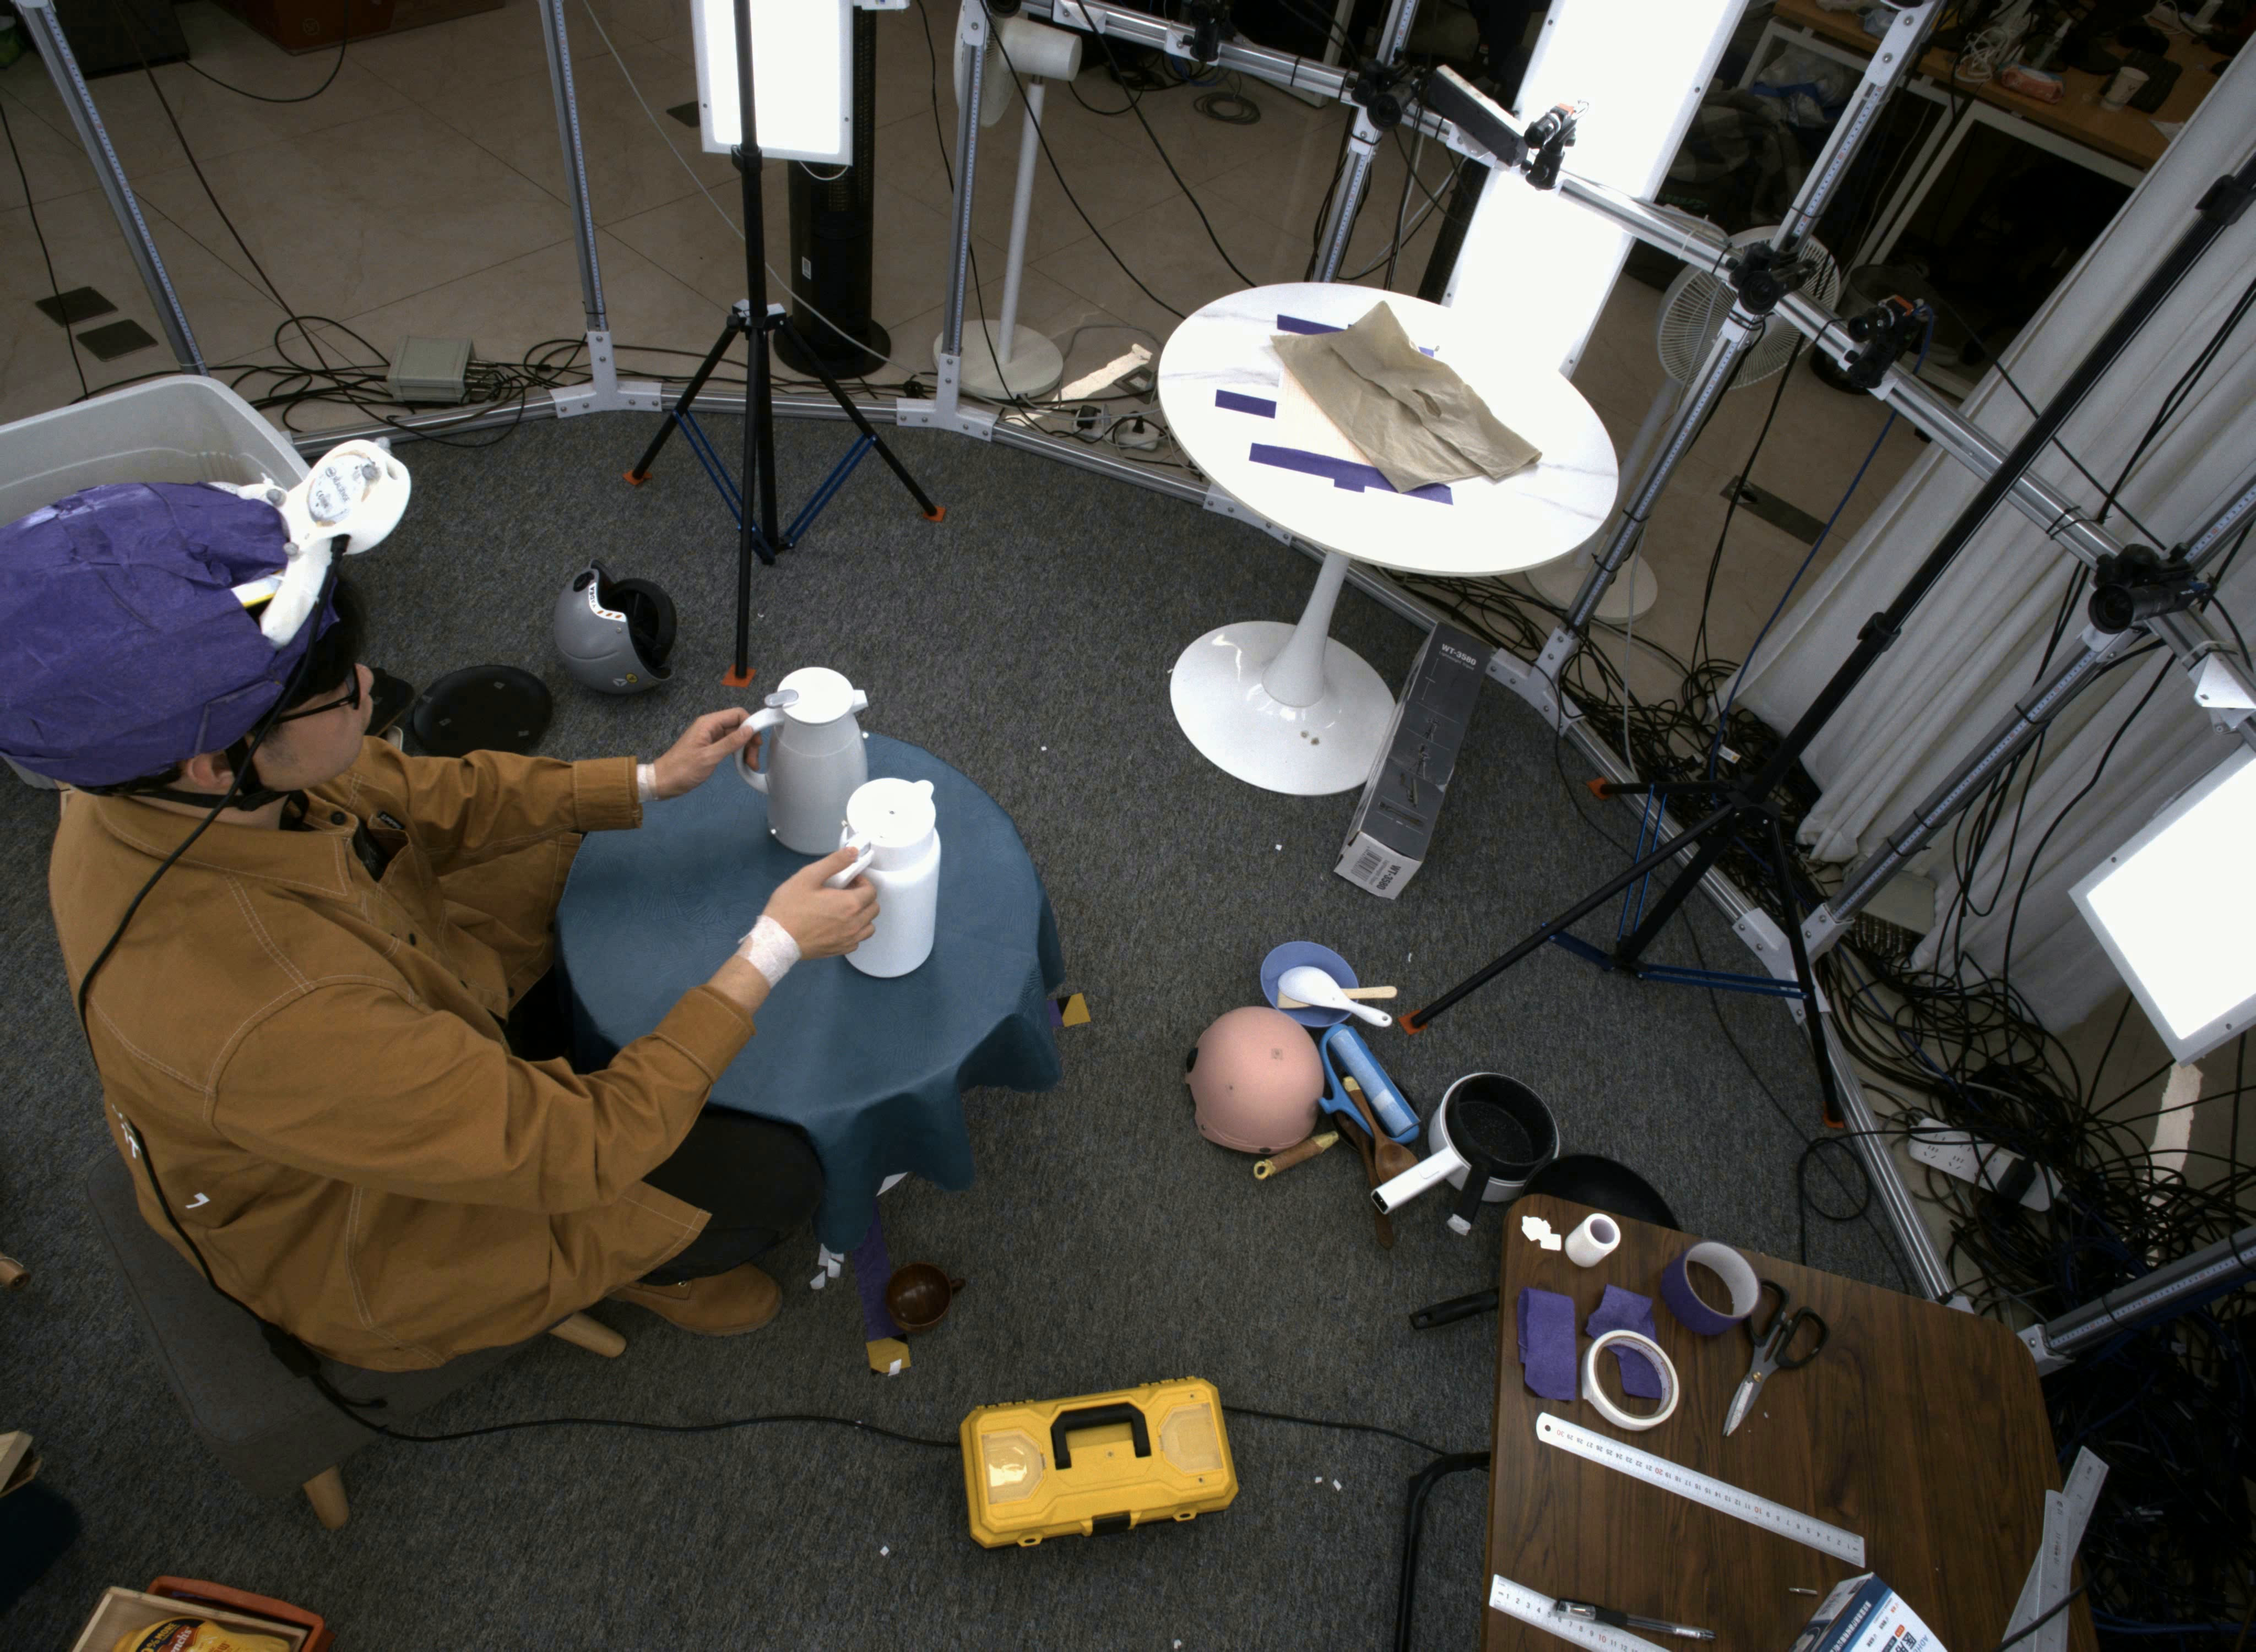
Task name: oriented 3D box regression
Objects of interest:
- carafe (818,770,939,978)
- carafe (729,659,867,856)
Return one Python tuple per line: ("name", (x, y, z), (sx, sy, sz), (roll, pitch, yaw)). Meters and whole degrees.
("carafe", (-0.293, 0.071, 1.529), (0.121, 0.274, 0.172), (33, 53, 12))
("carafe", (-0.413, -0.087, 1.628), (0.168, 0.254, 0.129), (-11, 55, -20))
